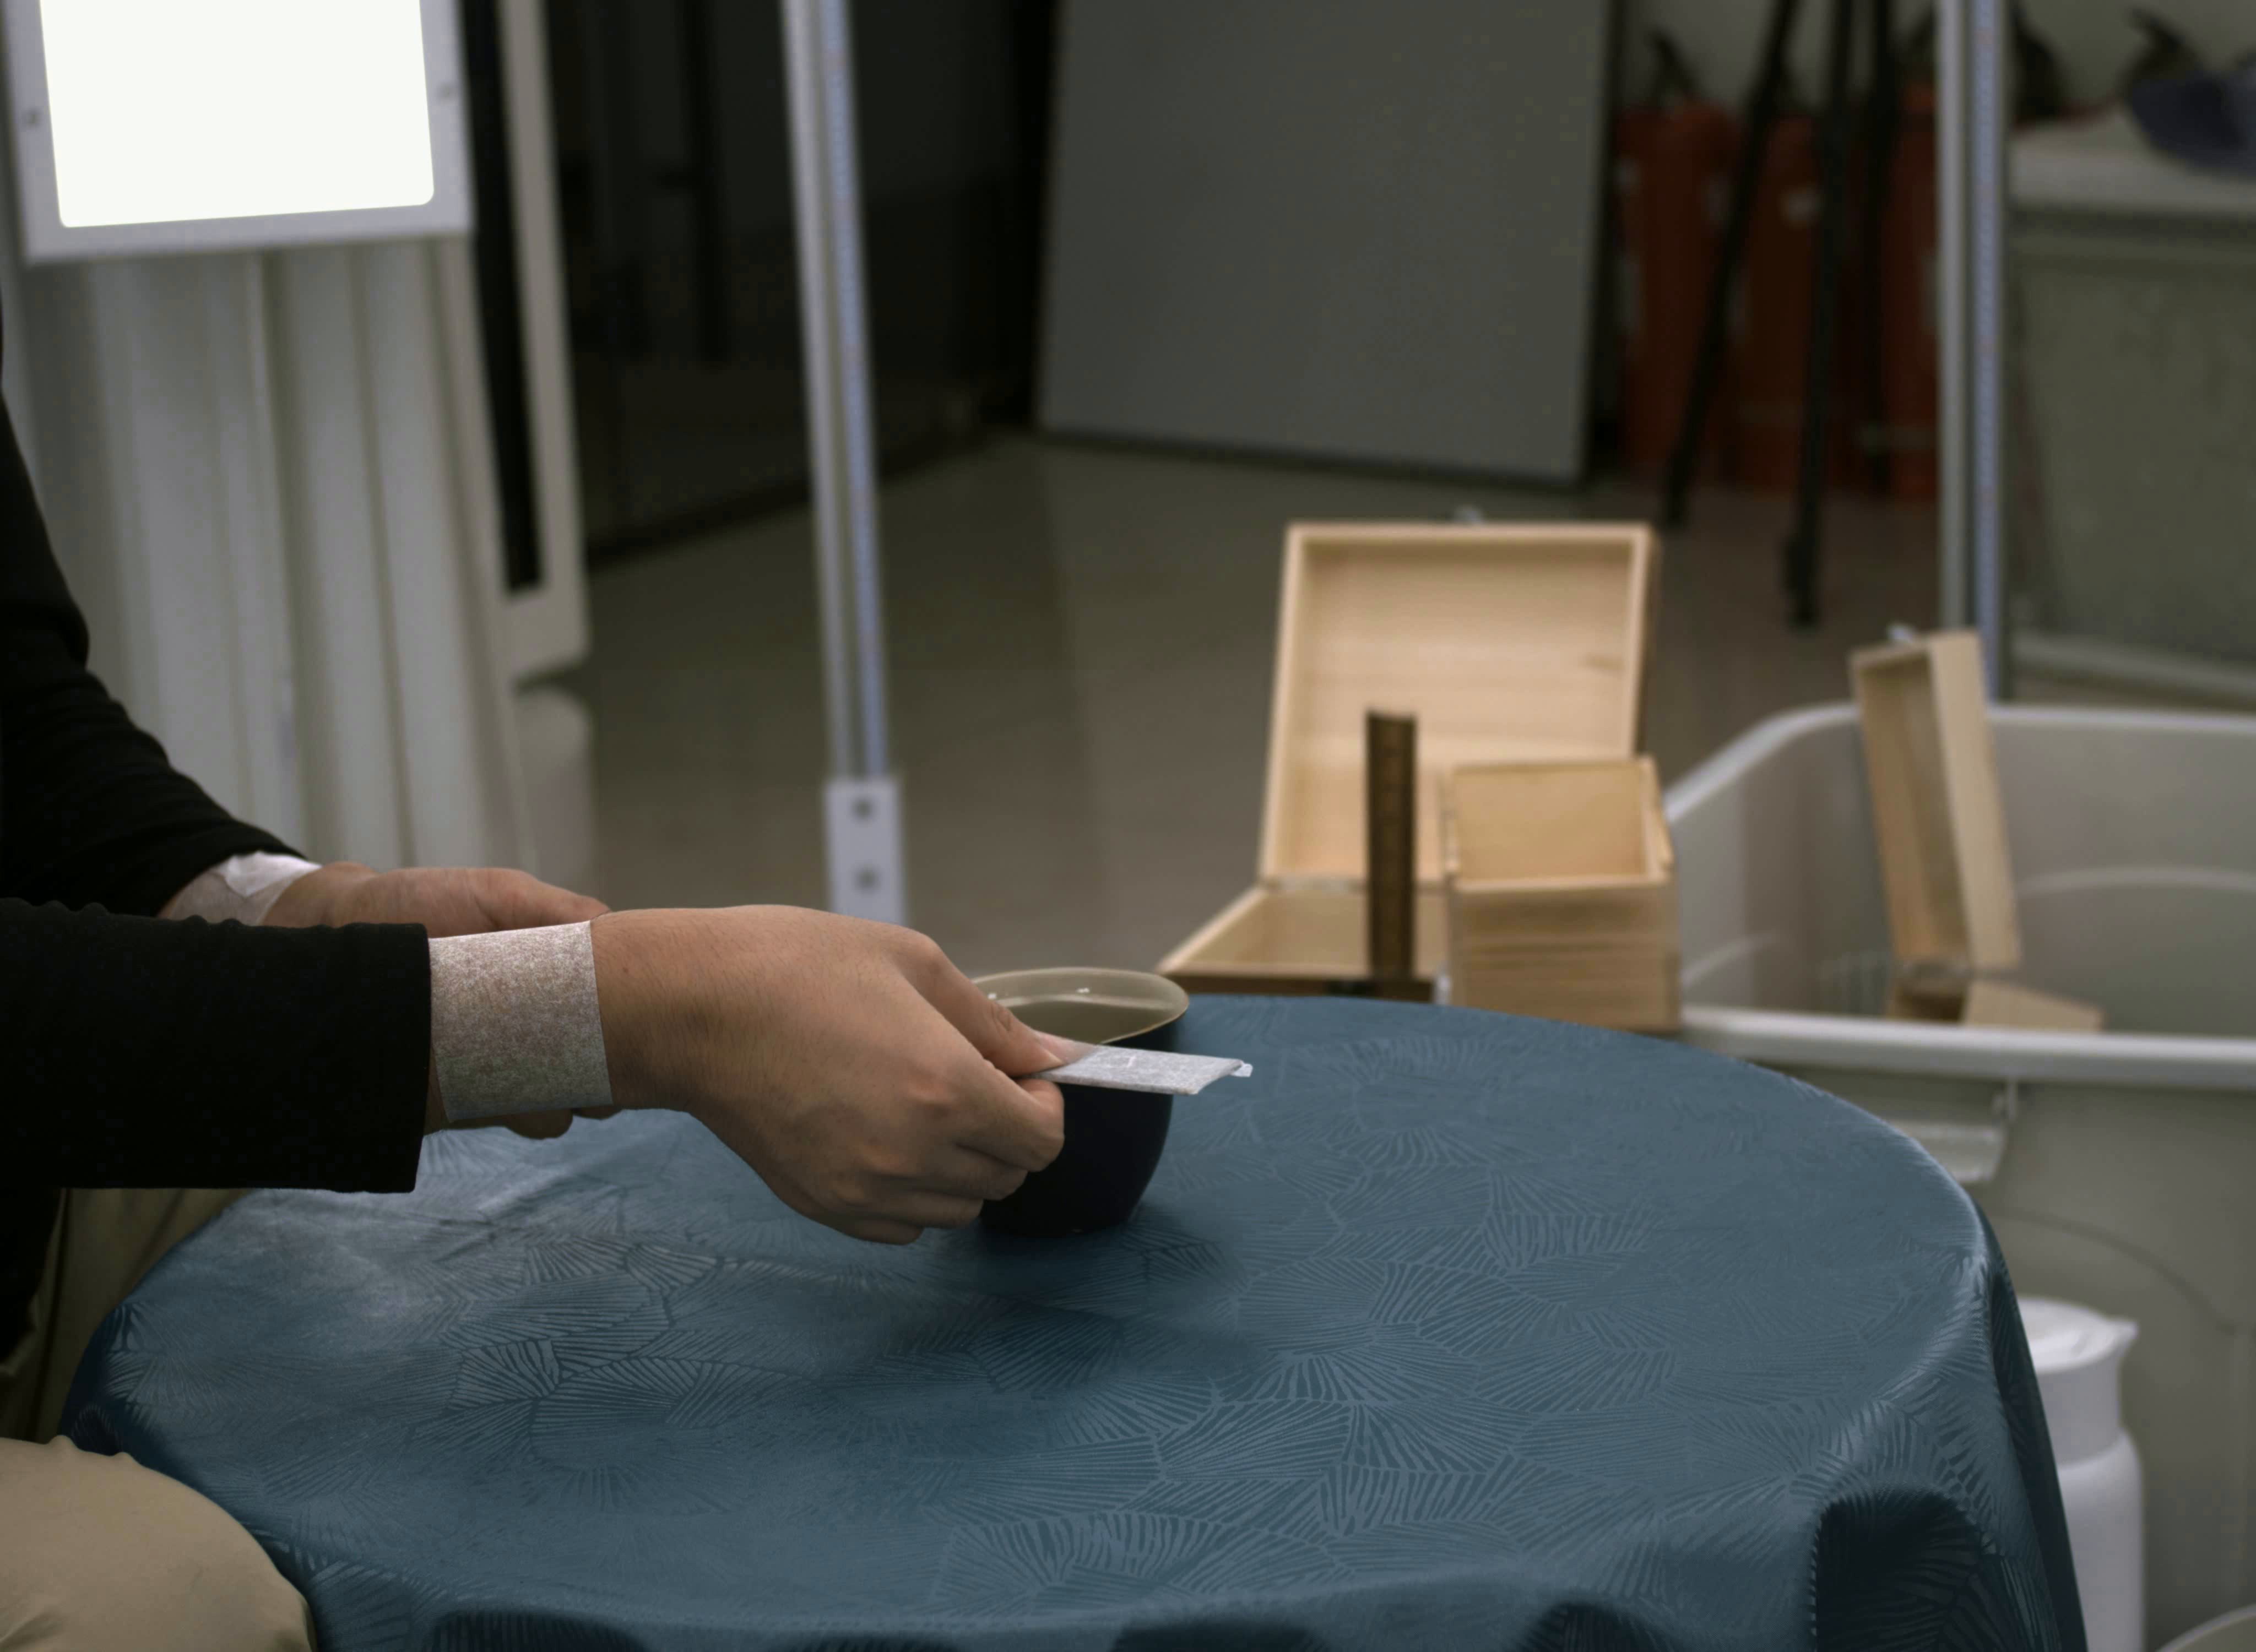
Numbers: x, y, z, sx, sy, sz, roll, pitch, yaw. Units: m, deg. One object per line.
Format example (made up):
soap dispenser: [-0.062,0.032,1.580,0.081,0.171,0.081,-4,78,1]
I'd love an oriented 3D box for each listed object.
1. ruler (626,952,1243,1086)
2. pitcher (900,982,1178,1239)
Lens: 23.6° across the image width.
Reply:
ruler: [-0.066,0.060,1.691,0.219,0.024,0.038,3,19,32]
pitcher: [-0.029,0.091,1.746,0.096,0.072,0.082,4,17,29]
